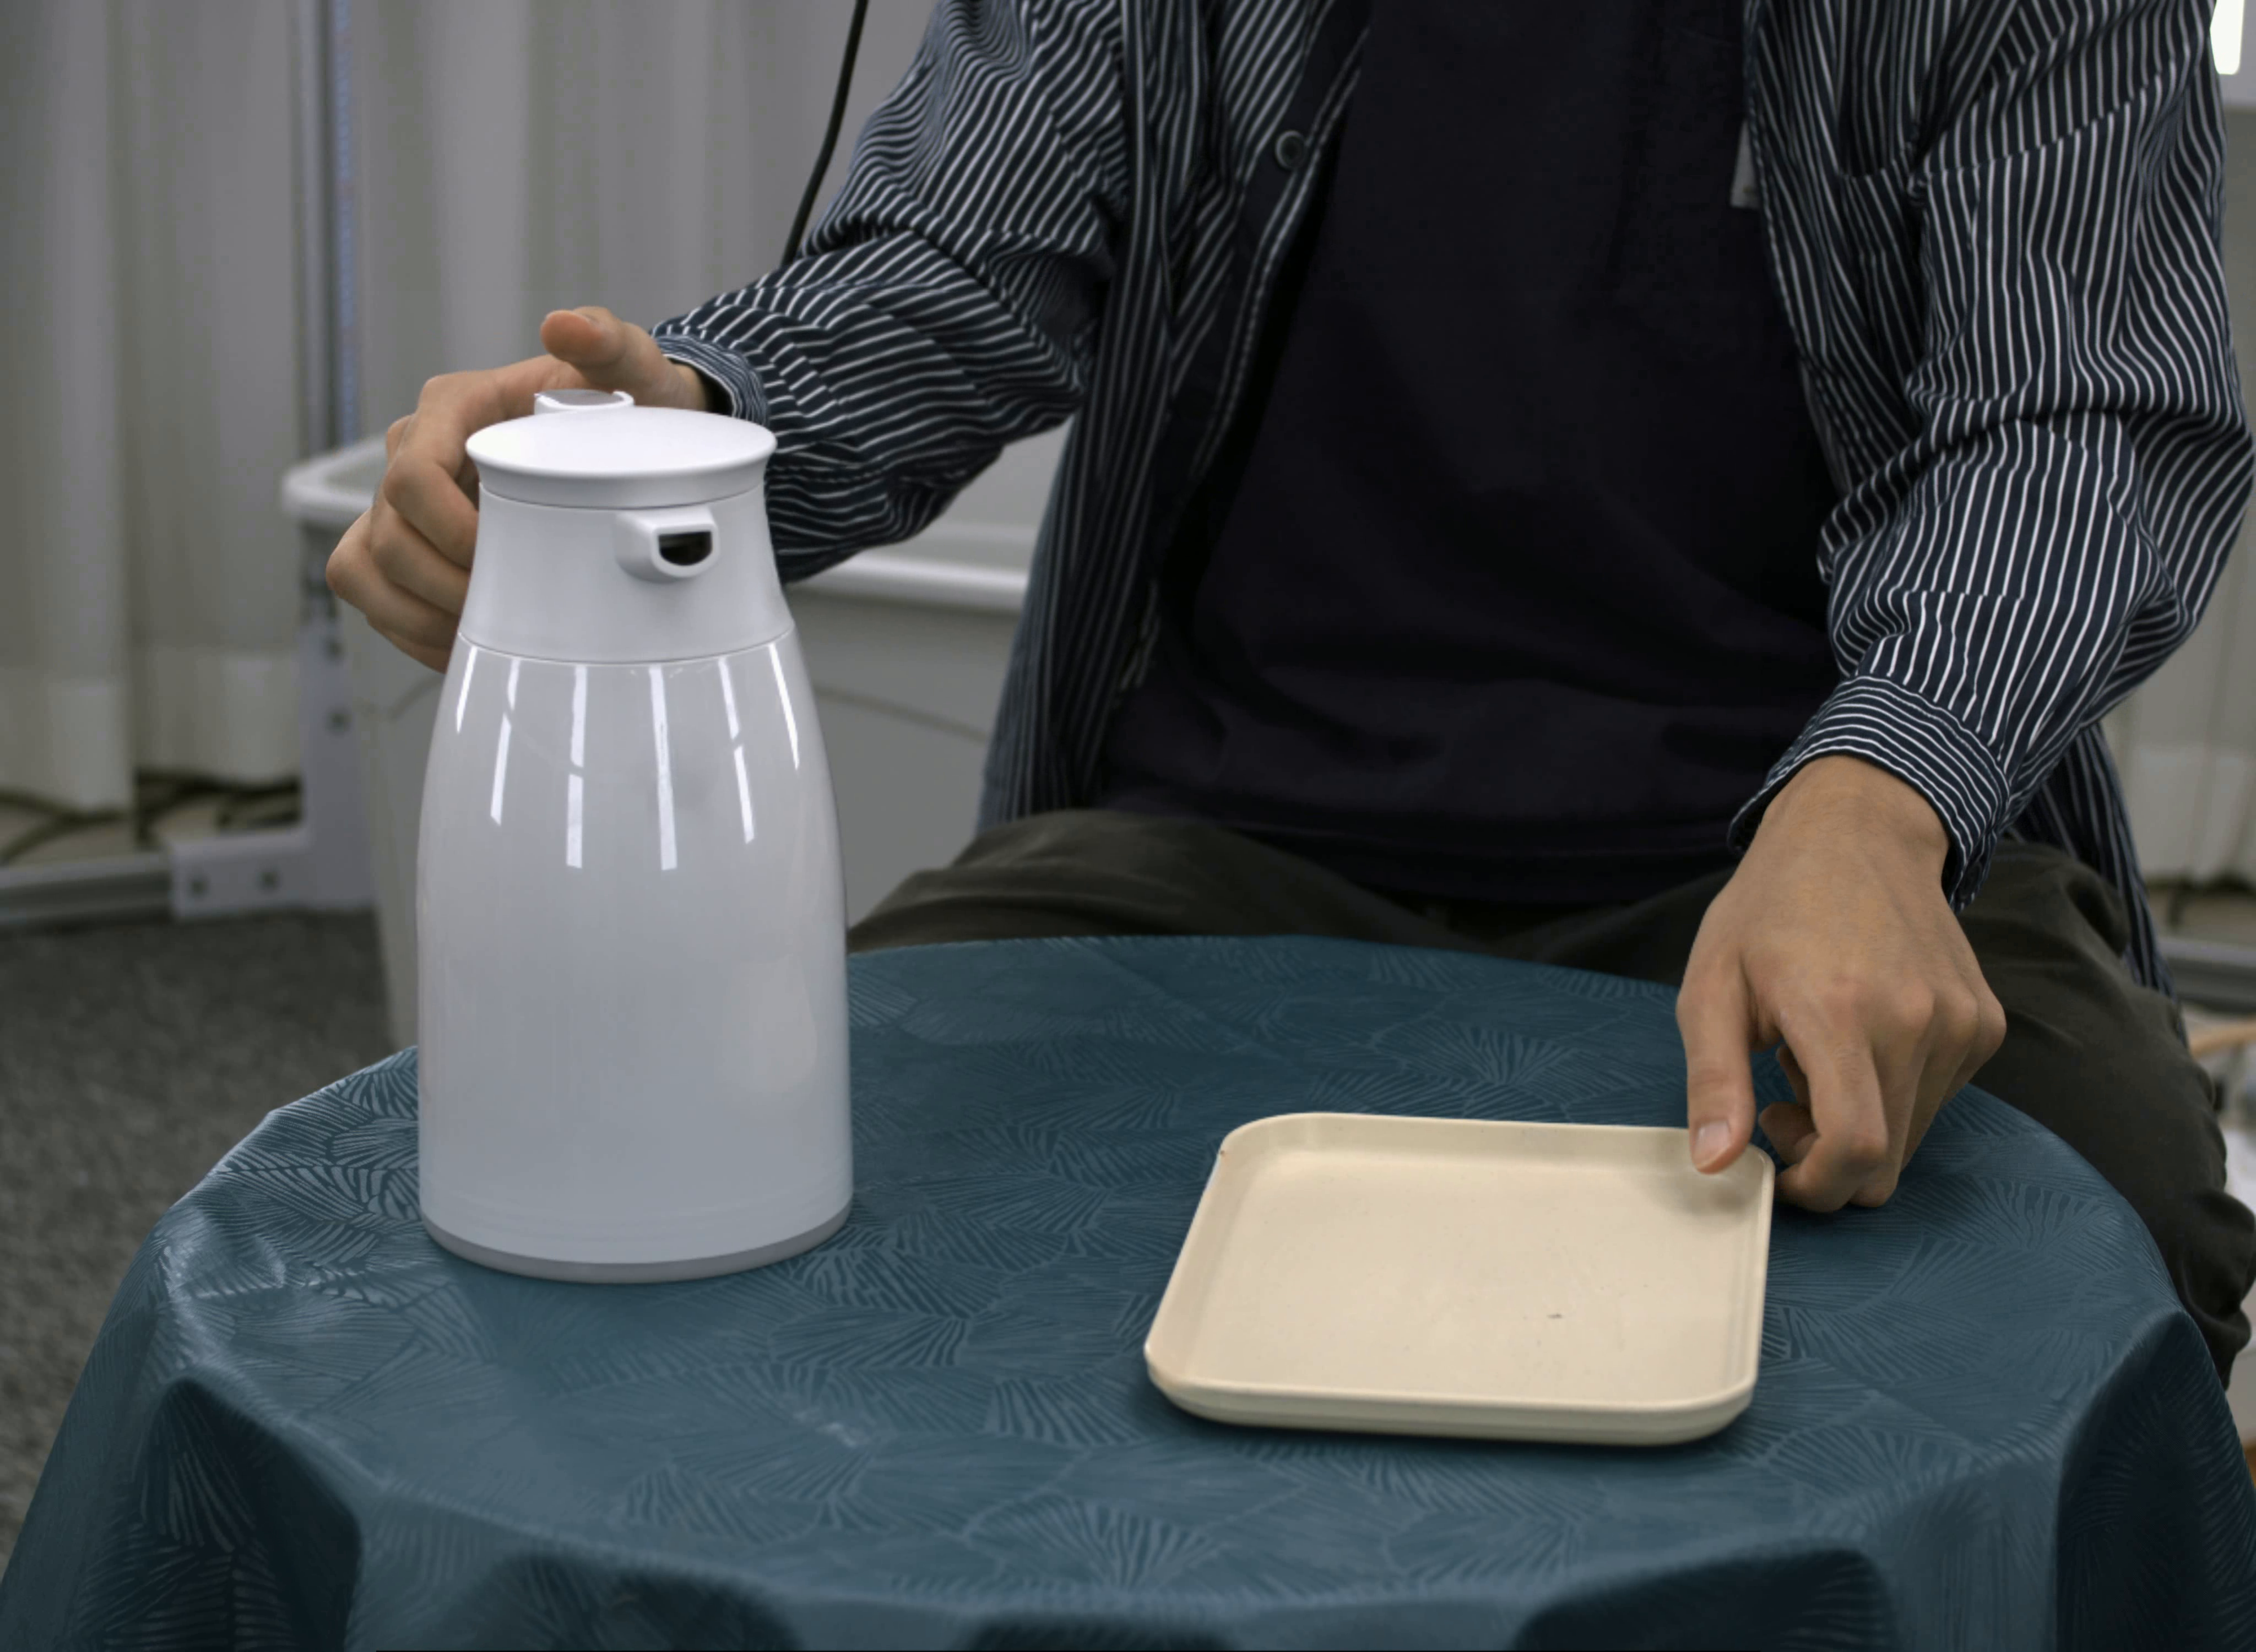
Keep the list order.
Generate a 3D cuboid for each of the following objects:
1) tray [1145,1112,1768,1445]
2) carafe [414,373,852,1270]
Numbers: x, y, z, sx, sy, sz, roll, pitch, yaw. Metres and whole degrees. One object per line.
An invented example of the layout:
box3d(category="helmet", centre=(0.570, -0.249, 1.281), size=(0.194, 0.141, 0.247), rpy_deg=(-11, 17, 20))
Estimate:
box3d(category="tray", centre=(0.100, 0.130, 1.534), size=(0.170, 0.017, 0.239), rpy_deg=(3, 15, 7))
box3d(category="carafe", centre=(-0.159, -0.010, 1.589), size=(0.133, 0.250, 0.165), rpy_deg=(-8, 17, -26))
